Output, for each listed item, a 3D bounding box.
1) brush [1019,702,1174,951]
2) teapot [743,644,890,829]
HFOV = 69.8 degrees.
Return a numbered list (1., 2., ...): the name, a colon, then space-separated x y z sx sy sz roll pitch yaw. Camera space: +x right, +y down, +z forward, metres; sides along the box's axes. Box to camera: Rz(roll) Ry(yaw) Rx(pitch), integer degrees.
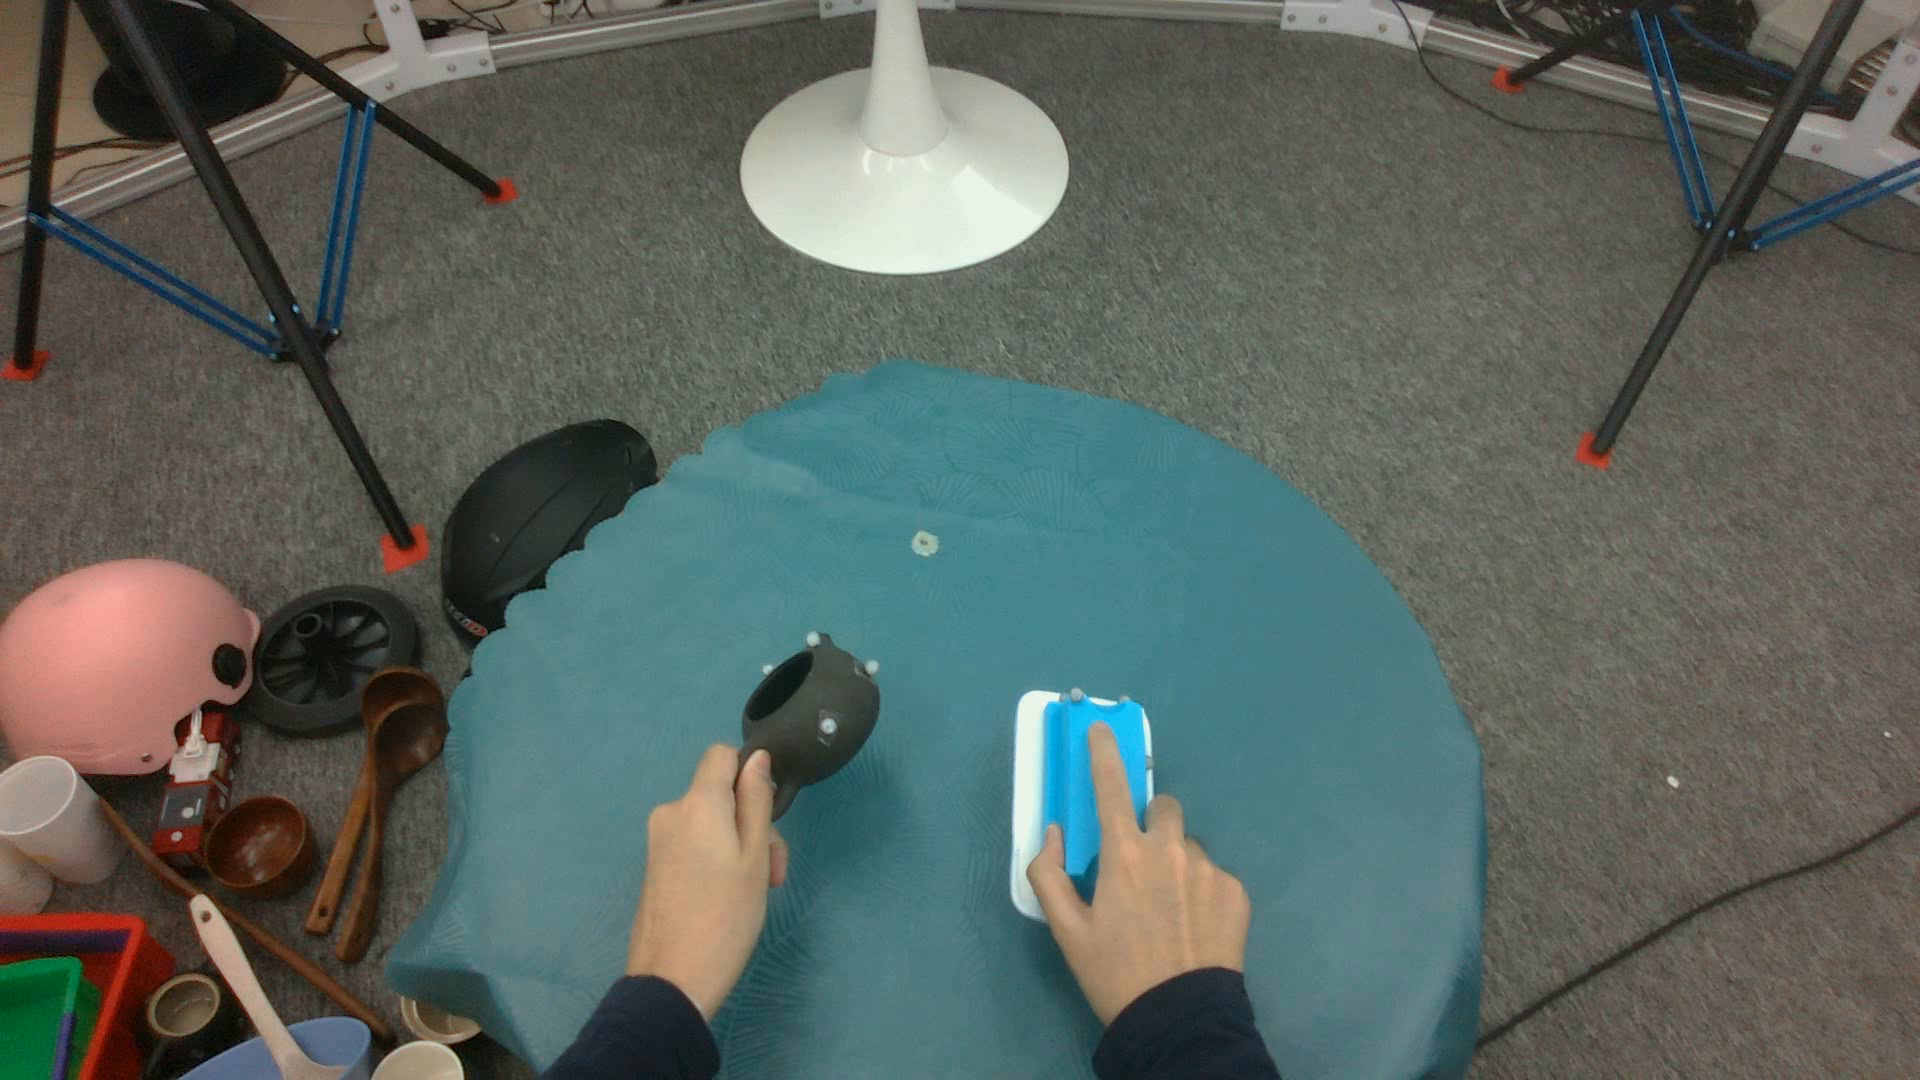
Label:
1. brush: 0.079 0.148 0.752 0.084 0.055 0.144 9 49 -3
2. teapot: -0.084 0.112 0.773 0.053 0.082 0.114 48 51 -16
